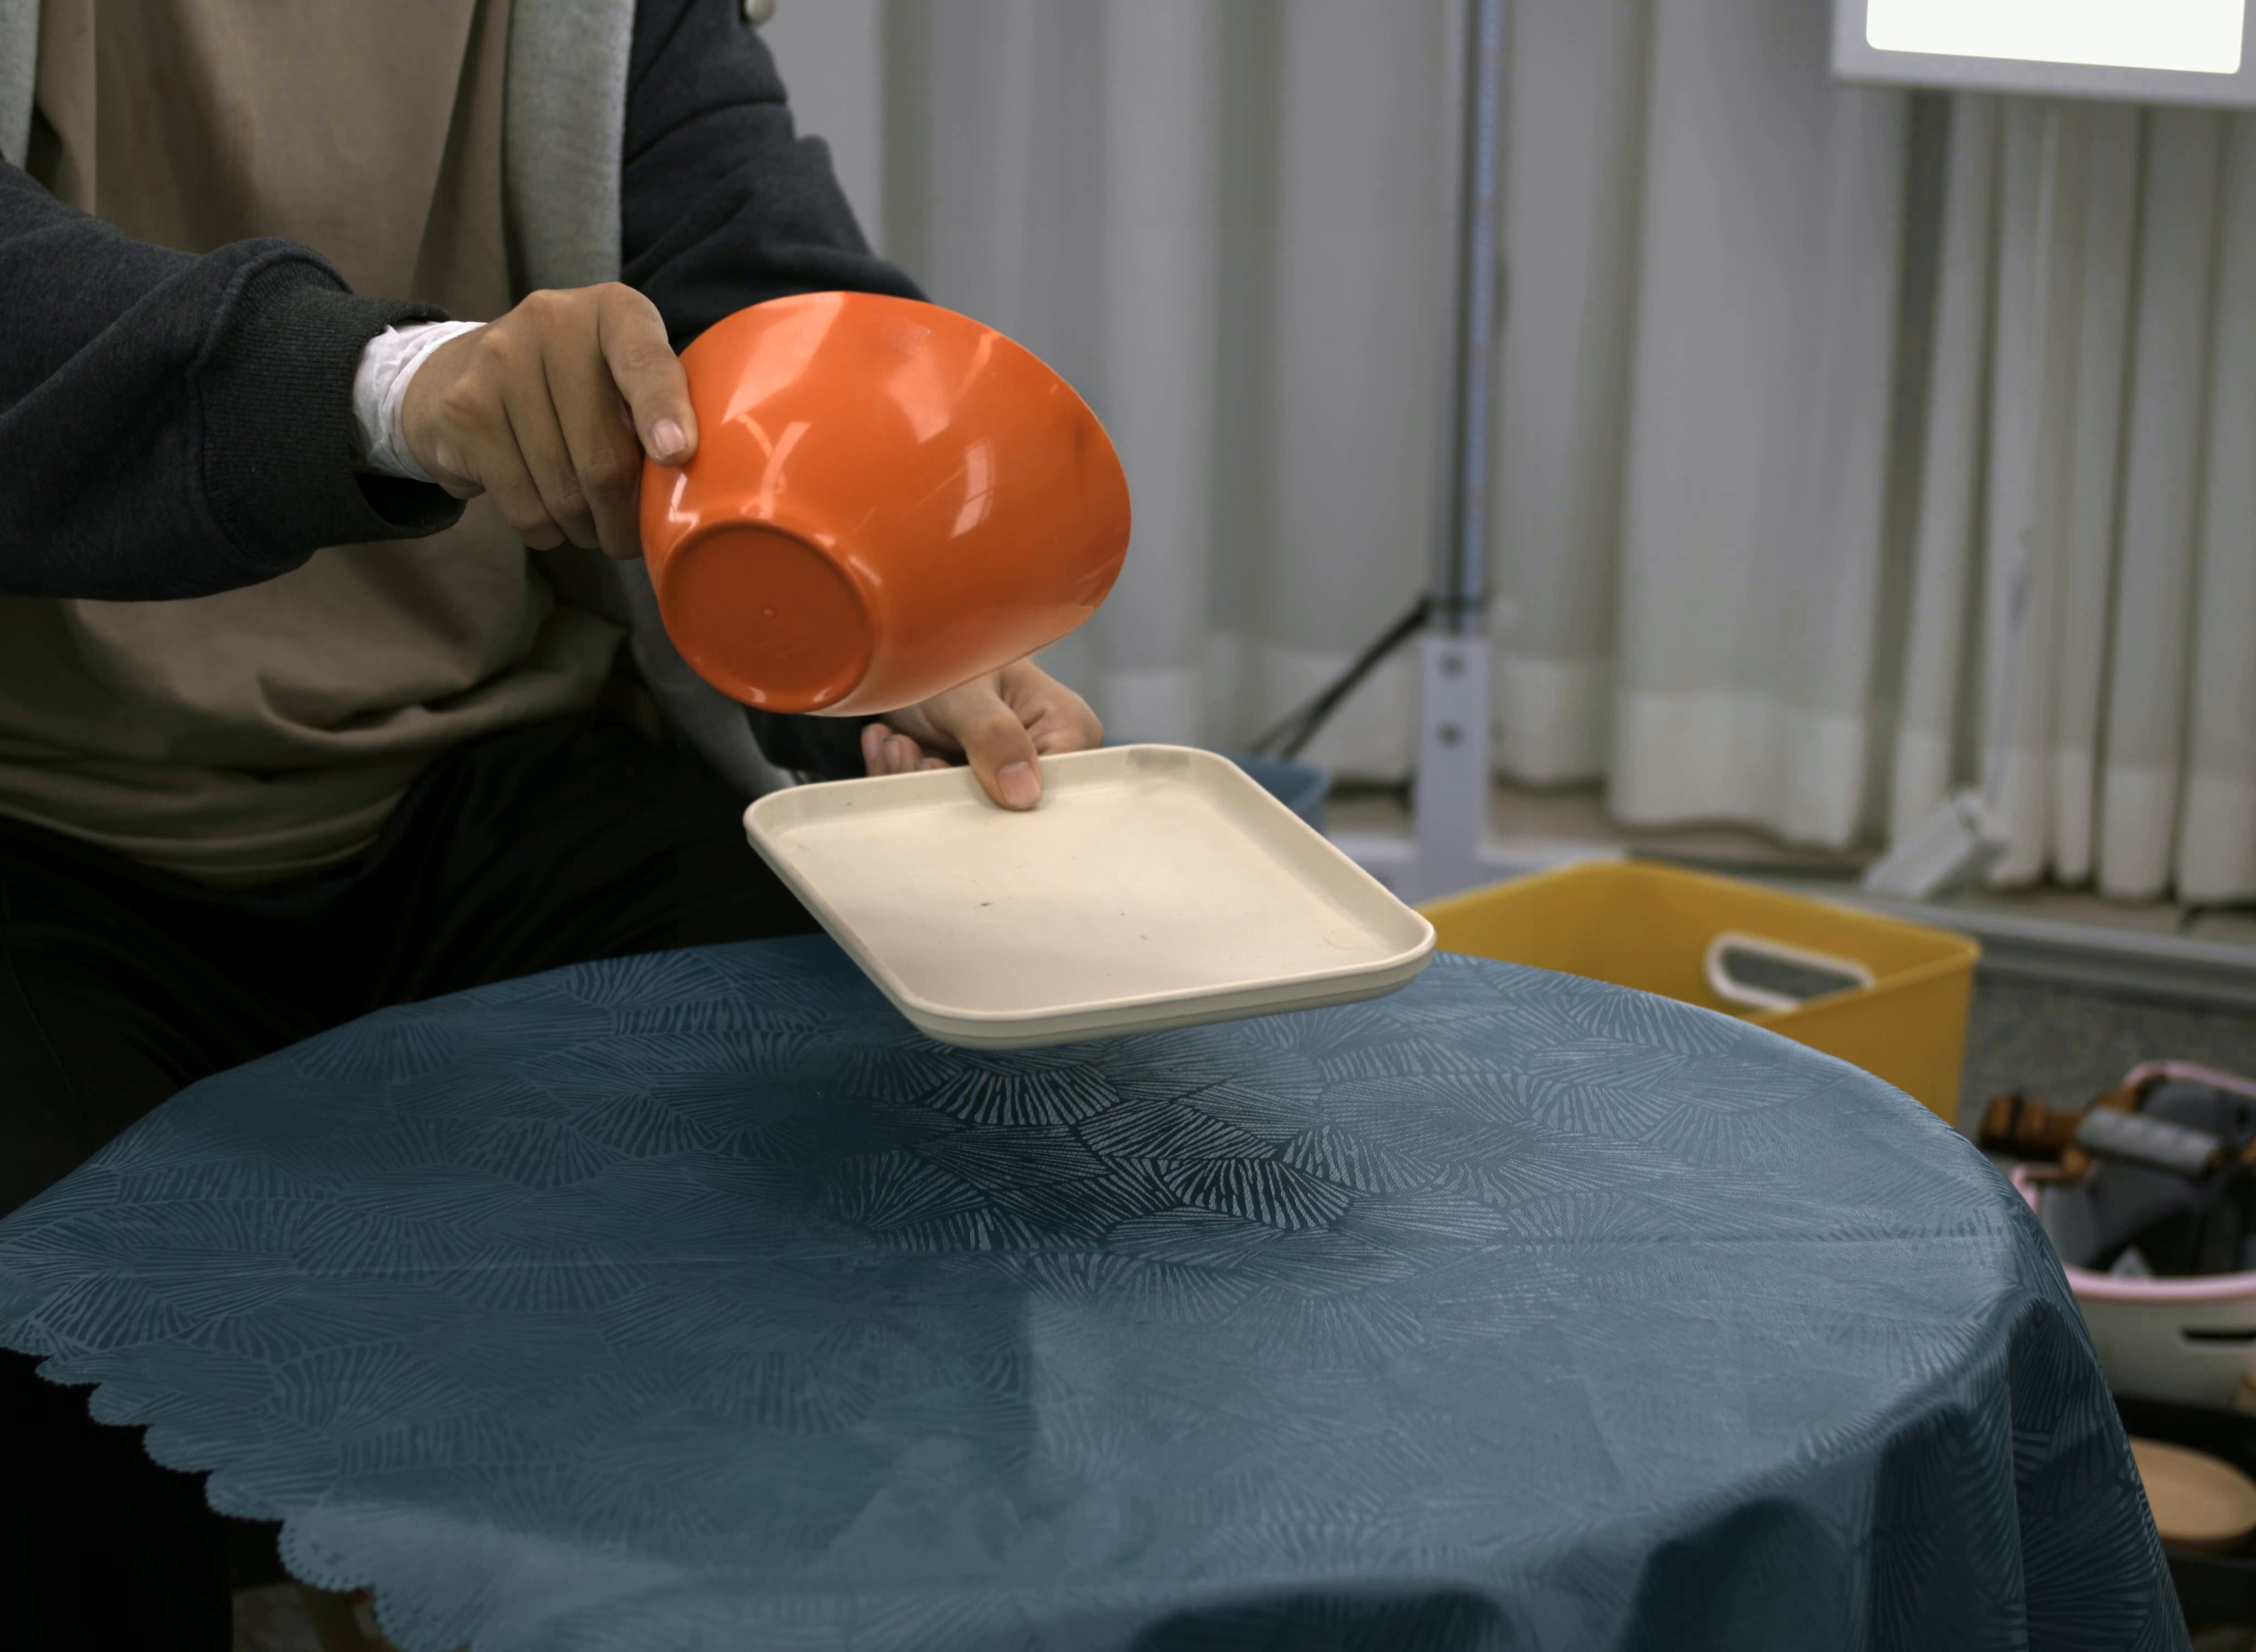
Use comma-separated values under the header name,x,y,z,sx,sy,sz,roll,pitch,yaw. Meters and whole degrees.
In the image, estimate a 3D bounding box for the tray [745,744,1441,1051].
name,x,y,z,sx,sy,sz,roll,pitch,yaw
tray,-0.015,0.021,1.665,0.171,0.017,0.237,-8,19,-18

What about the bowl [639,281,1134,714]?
name,x,y,z,sx,sy,sz,roll,pitch,yaw
bowl,-0.083,-0.081,1.550,0.147,0.150,0.104,6,37,17
